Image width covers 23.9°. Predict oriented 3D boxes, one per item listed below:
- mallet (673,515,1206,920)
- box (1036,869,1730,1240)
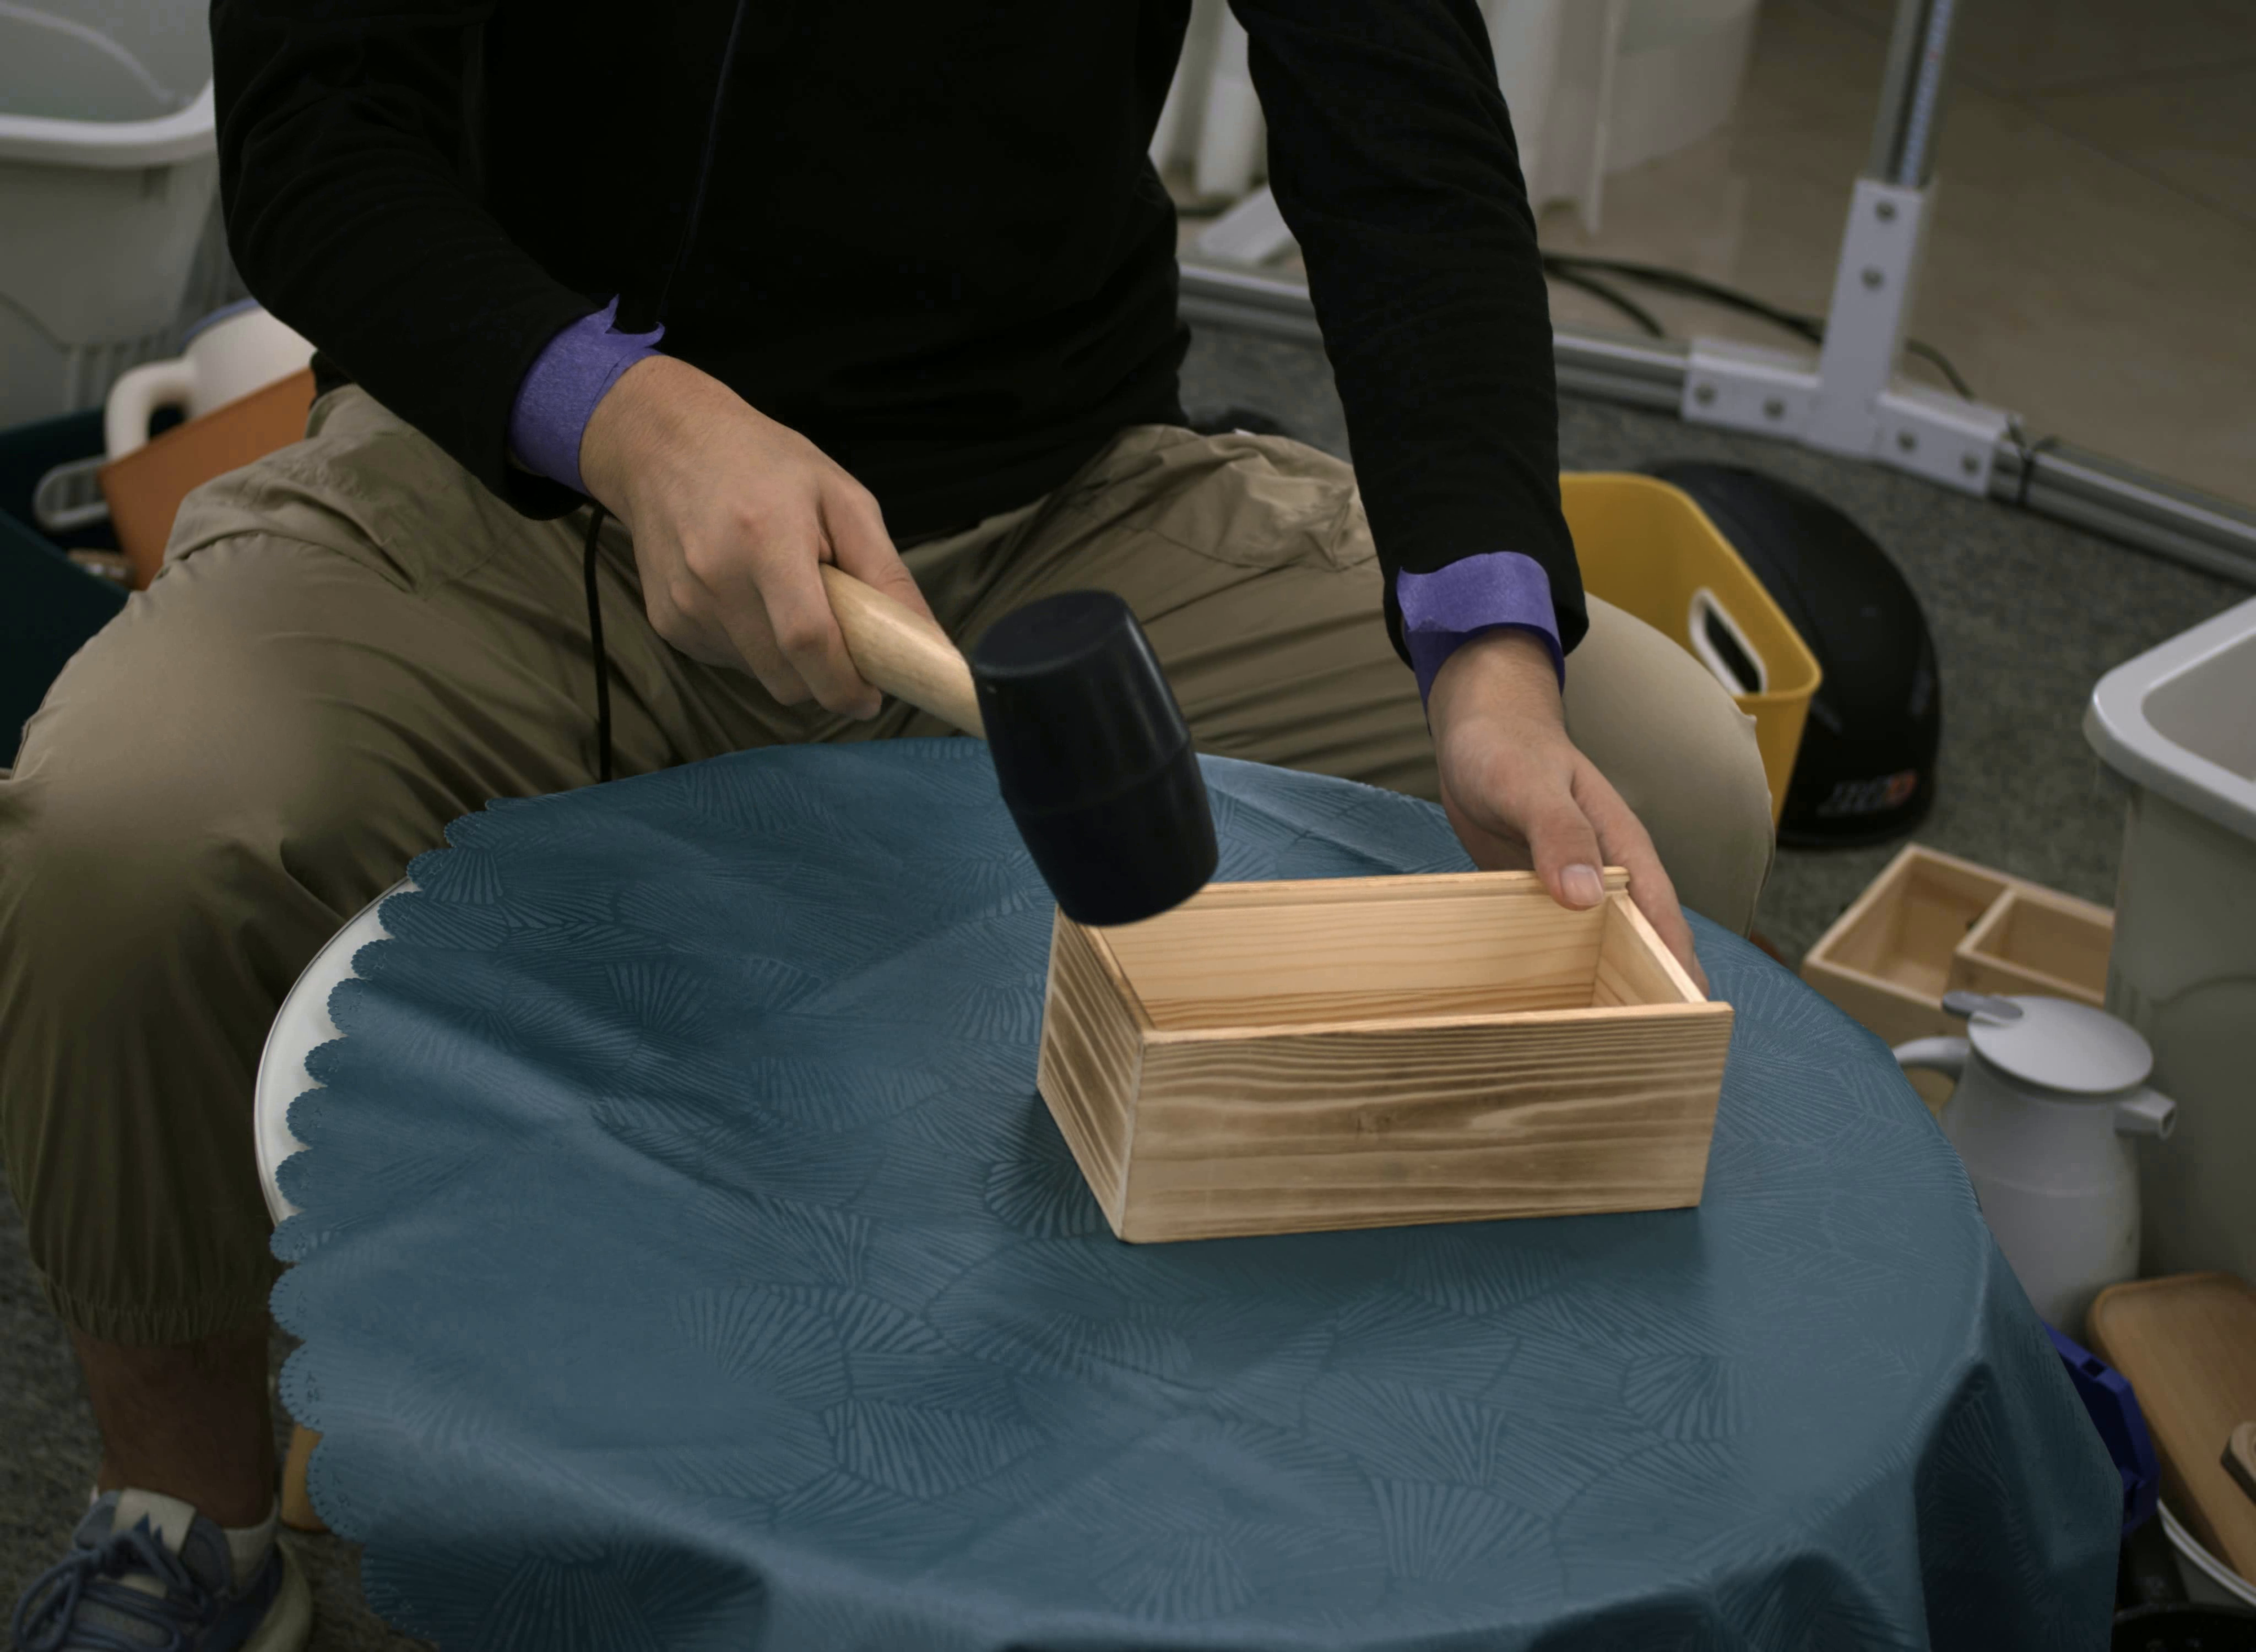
[{"bbox_3d":[-0.072,-0.063,1.837,0.064,0.101,0.341,-23,24,-18],"label":"mallet"},{"bbox_3d":[0.086,0.077,1.829,0.210,0.080,0.108,-2,28,-17],"label":"box"}]
